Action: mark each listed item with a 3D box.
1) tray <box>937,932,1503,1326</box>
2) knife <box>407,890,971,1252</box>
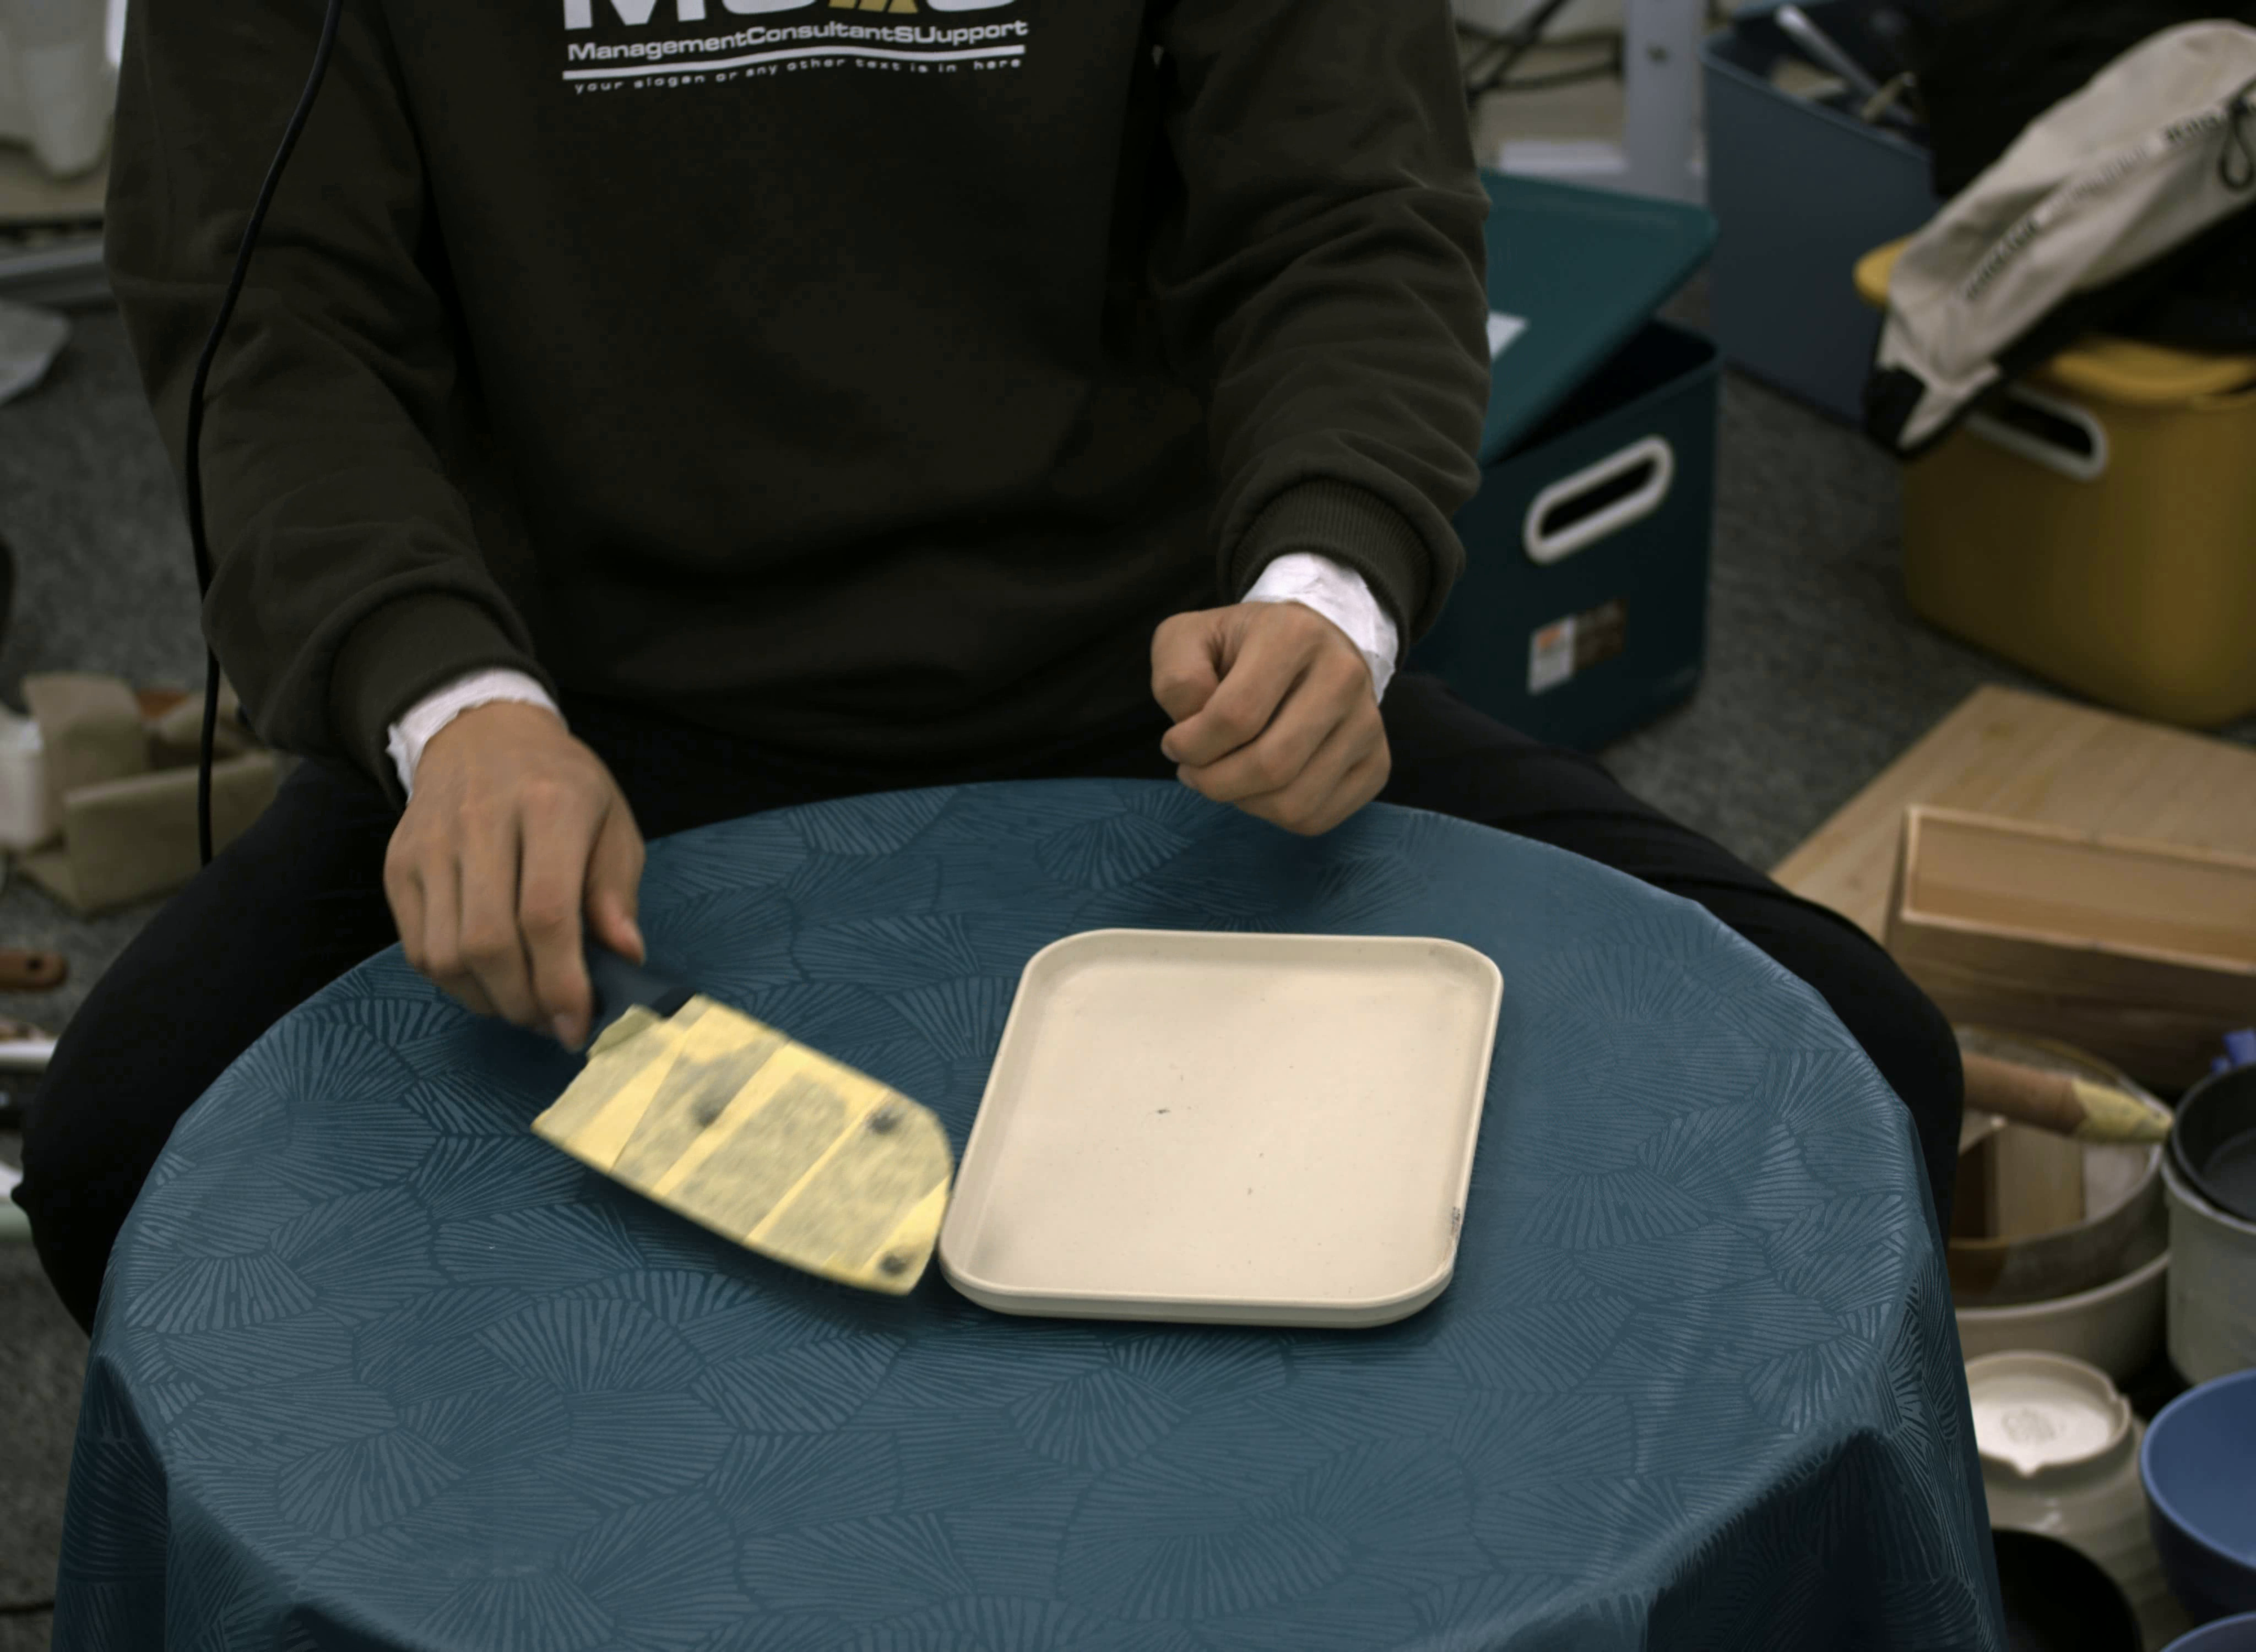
[{"bbox_3d":[0.034,0.100,1.880,0.170,0.017,0.243,1,27,9],"label":"tray"},{"bbox_3d":[-0.155,0.081,1.879,0.289,0.027,0.082,24,56,41],"label":"knife"}]
